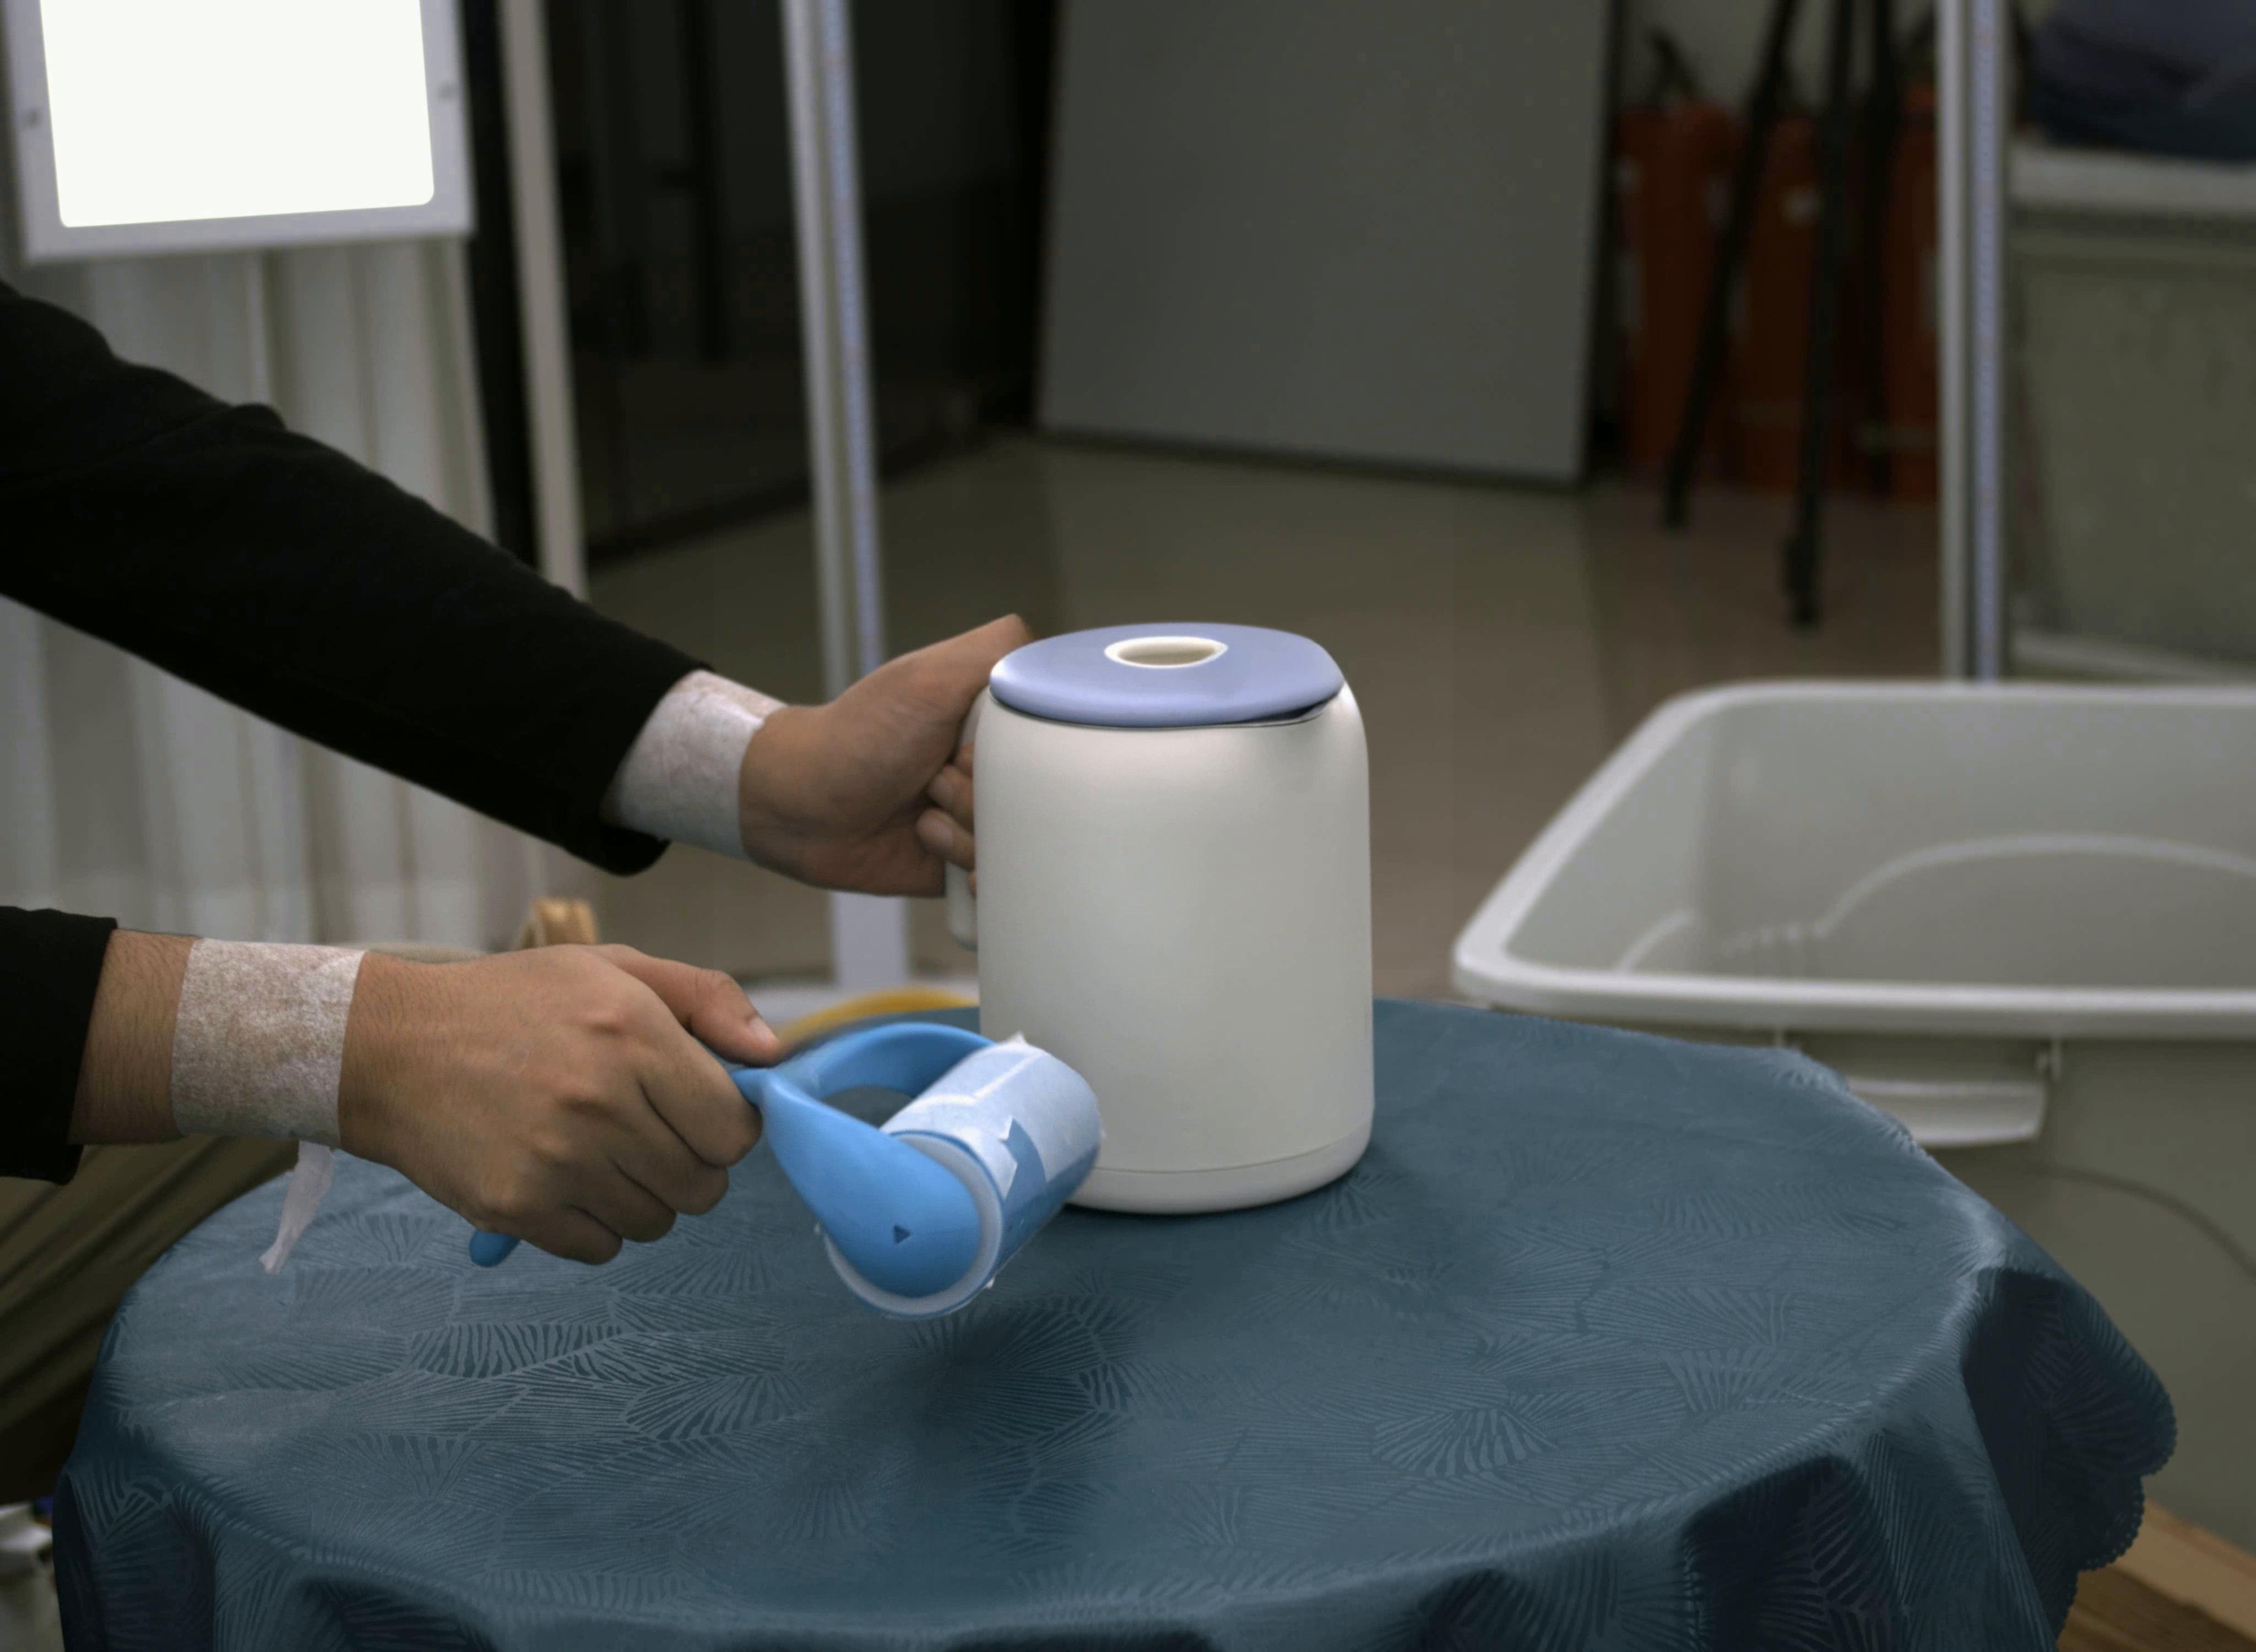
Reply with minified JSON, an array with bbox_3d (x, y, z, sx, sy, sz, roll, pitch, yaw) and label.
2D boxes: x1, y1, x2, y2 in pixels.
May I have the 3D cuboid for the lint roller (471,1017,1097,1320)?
[{"bbox_3d":[-0.105,0.098,1.586,0.178,0.069,0.228,1,7,5],"label":"lint roller"}]

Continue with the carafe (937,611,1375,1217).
[{"bbox_3d":[-0.001,0.024,1.792,0.129,0.184,0.193,-12,15,-37],"label":"carafe"}]
